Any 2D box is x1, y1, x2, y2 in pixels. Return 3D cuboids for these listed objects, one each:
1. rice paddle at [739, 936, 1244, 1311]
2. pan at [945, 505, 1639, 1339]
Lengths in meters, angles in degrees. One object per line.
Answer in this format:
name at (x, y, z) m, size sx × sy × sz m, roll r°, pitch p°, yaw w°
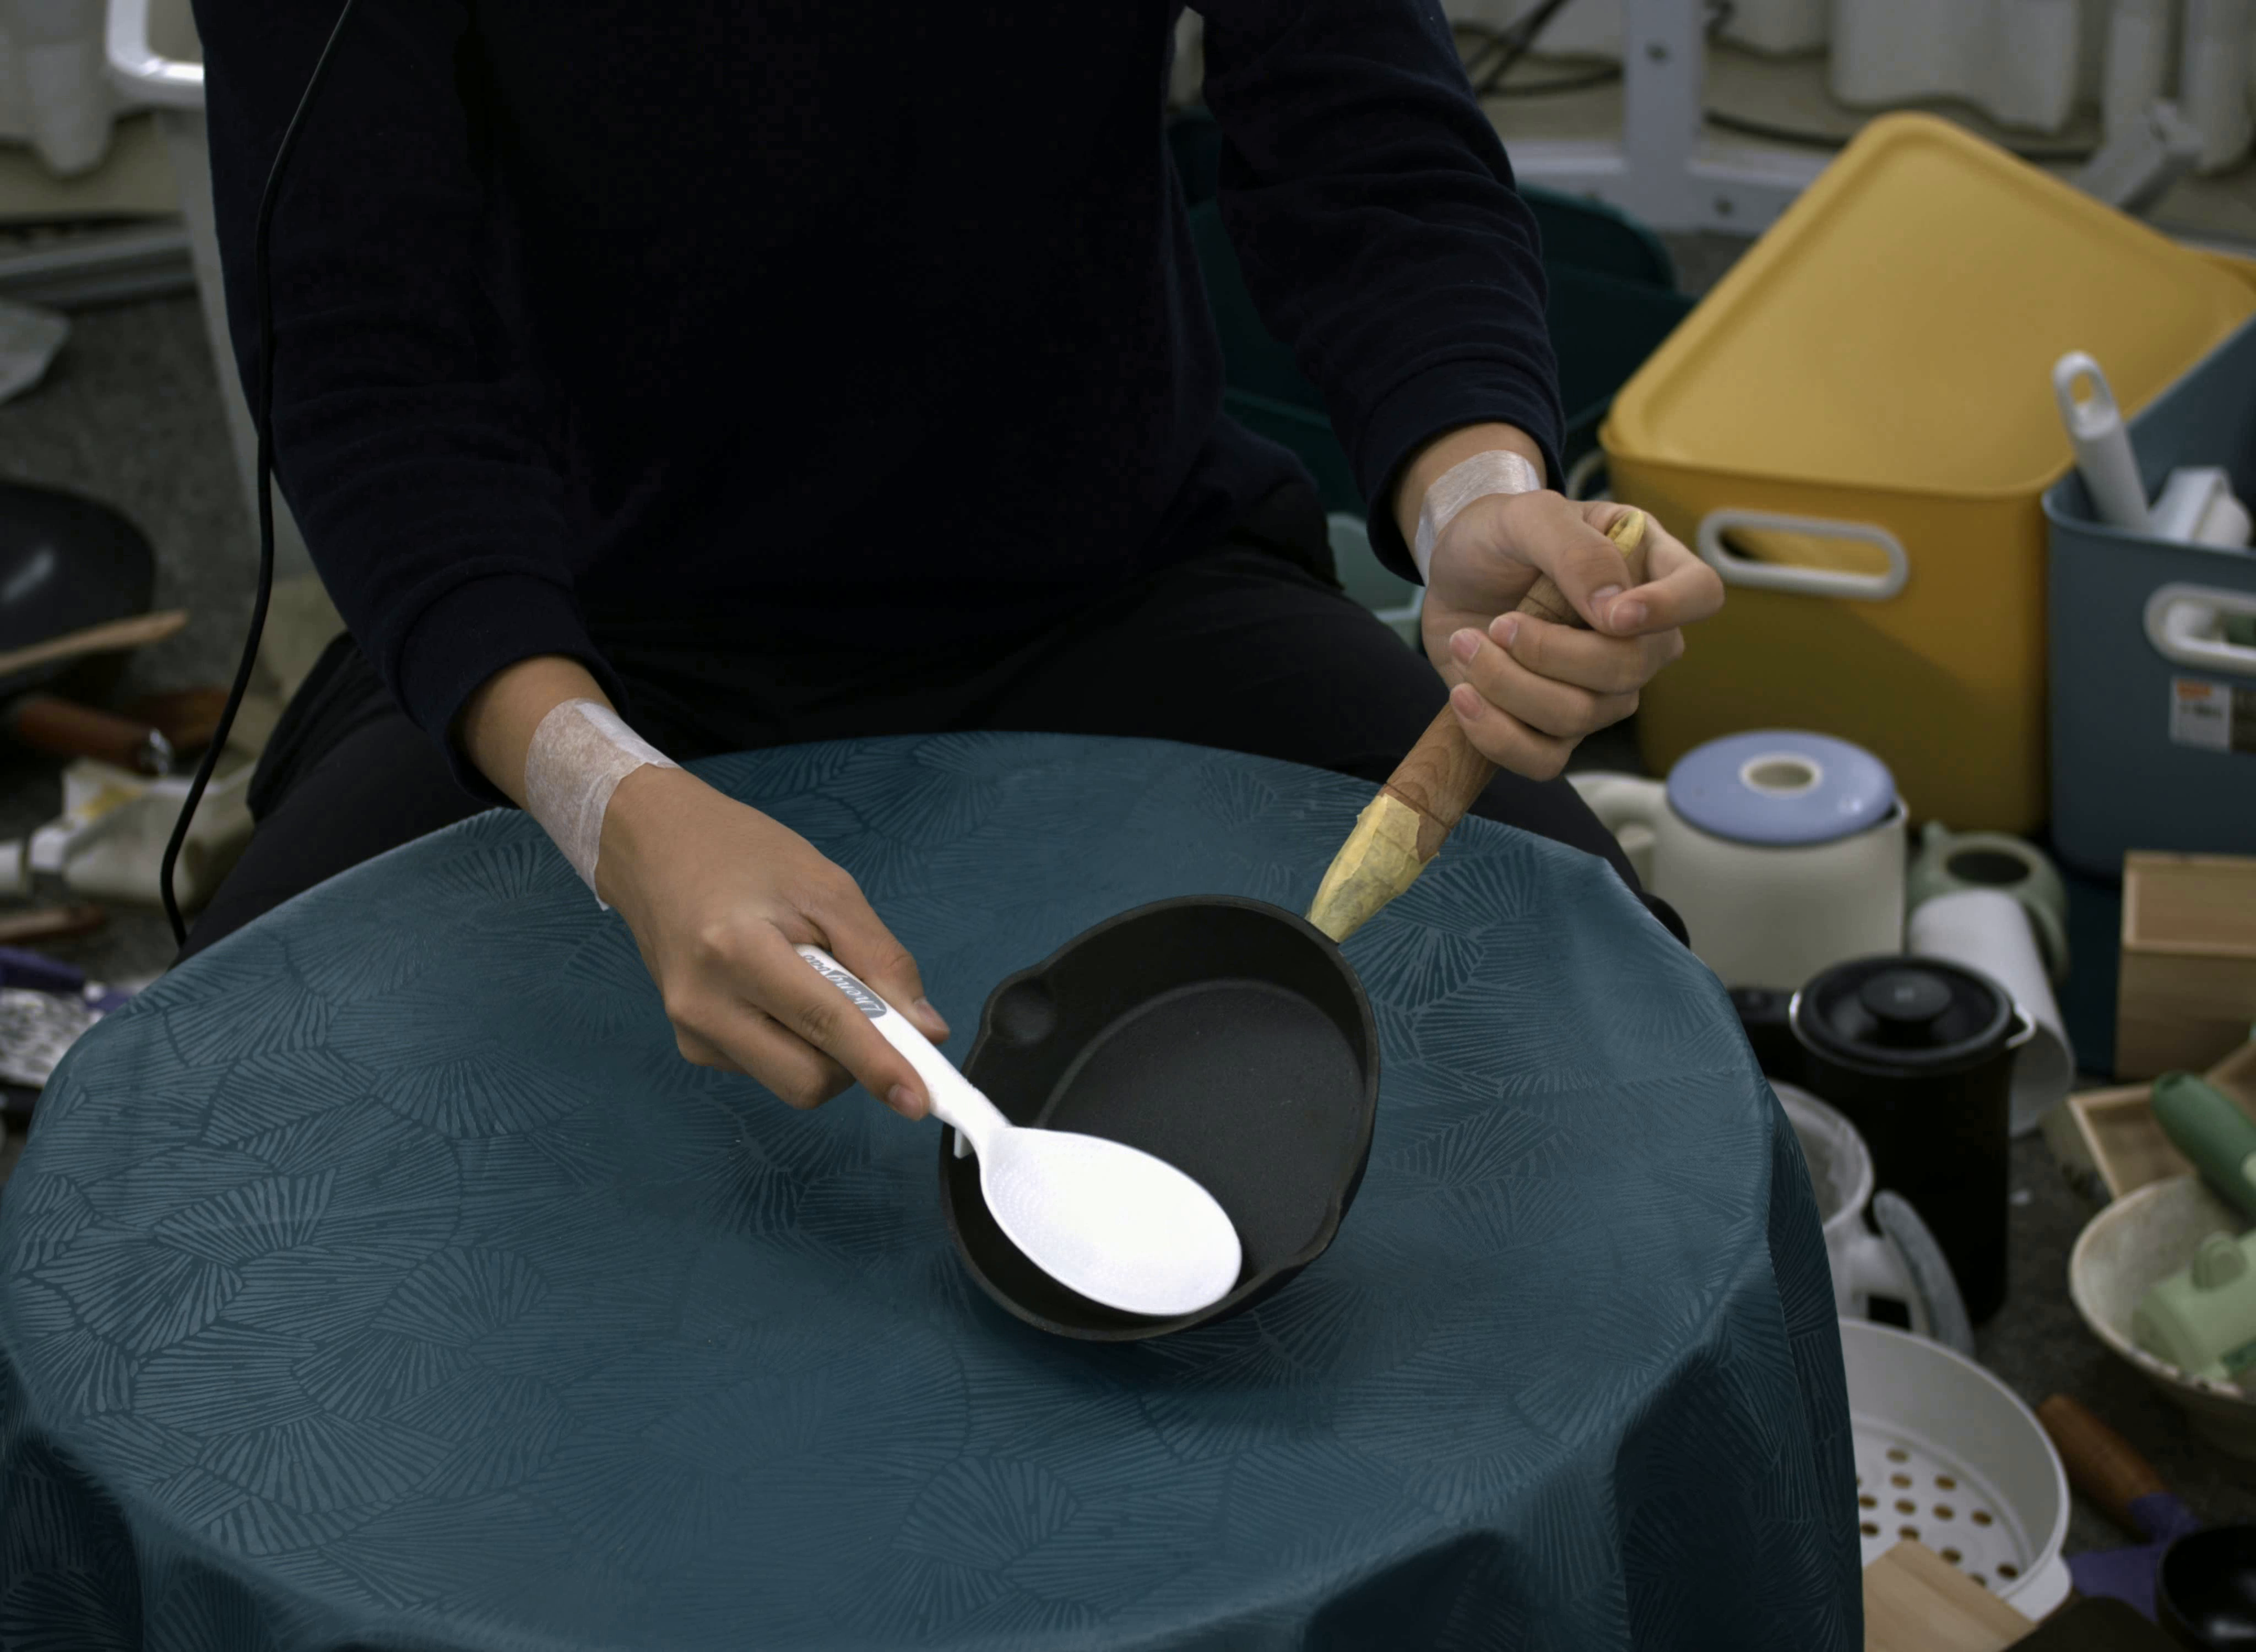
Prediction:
rice paddle at (-0.044, 0.097, 1.802) m, size 0.205 × 0.029 × 0.069 m, roll 33°, pitch 42°, yaw 31°
pan at (0.067, 0.031, 1.800) m, size 0.325 × 0.049 × 0.170 m, roll -49°, pitch 48°, yaw -4°
